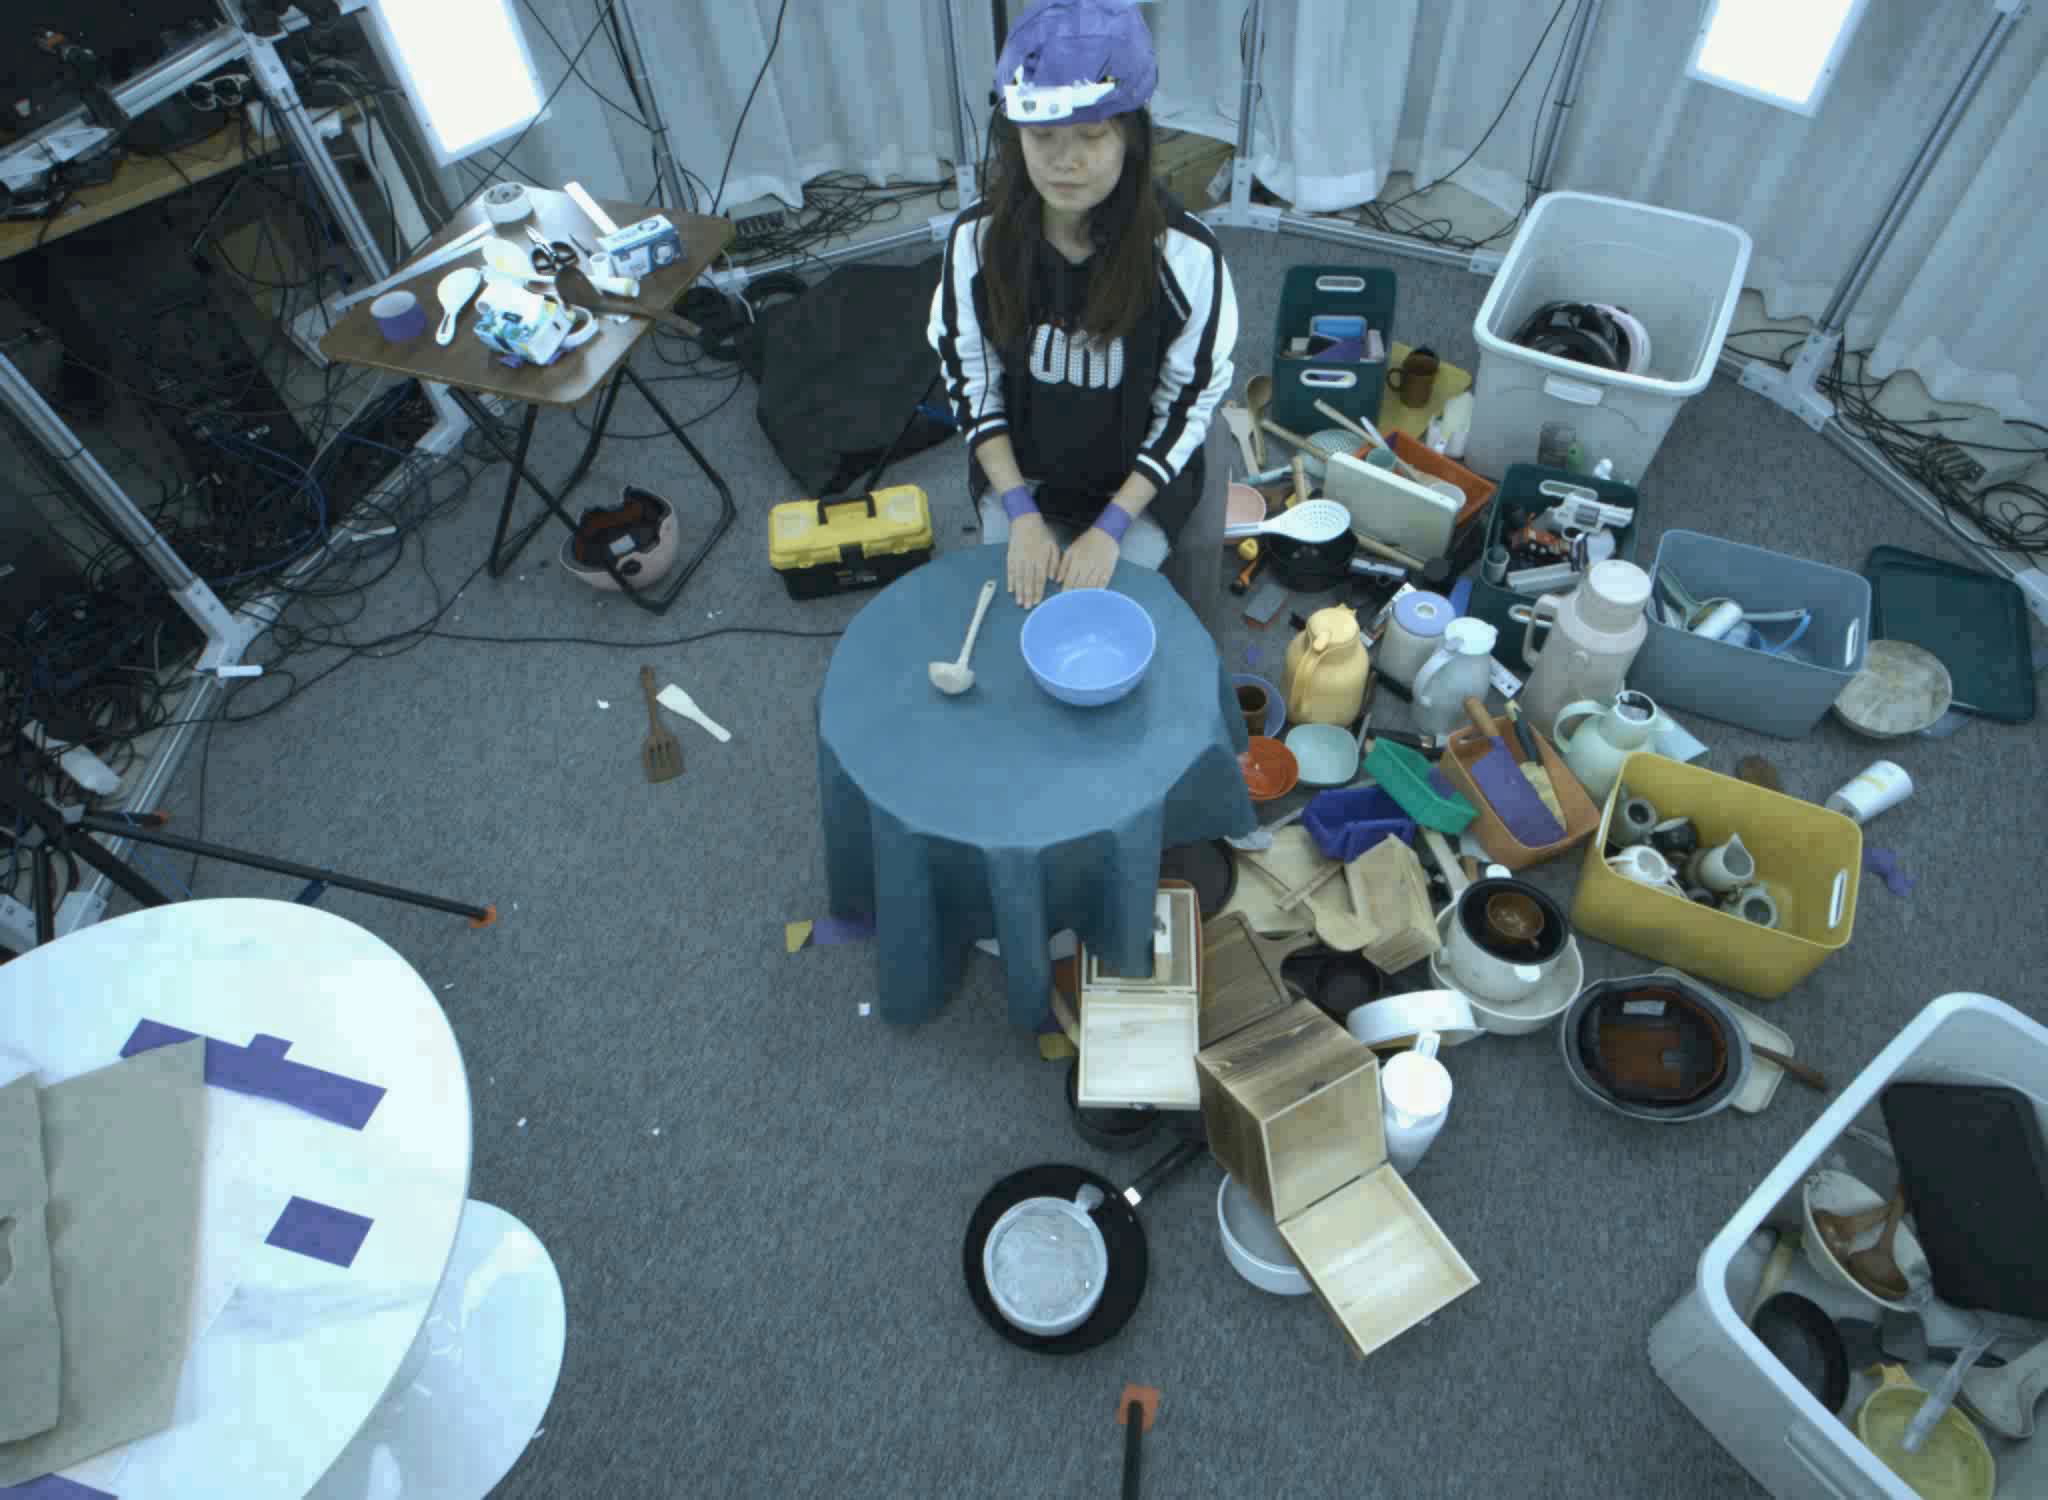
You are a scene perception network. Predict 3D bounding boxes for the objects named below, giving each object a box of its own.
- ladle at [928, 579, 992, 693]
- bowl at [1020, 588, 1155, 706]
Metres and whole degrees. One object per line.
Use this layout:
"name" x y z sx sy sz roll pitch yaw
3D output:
"ladle" -0.087 -0.196 1.884 0.072 0.073 0.253 9 55 8
"bowl" 0.095 -0.137 1.825 0.196 0.096 0.194 -1 56 3
